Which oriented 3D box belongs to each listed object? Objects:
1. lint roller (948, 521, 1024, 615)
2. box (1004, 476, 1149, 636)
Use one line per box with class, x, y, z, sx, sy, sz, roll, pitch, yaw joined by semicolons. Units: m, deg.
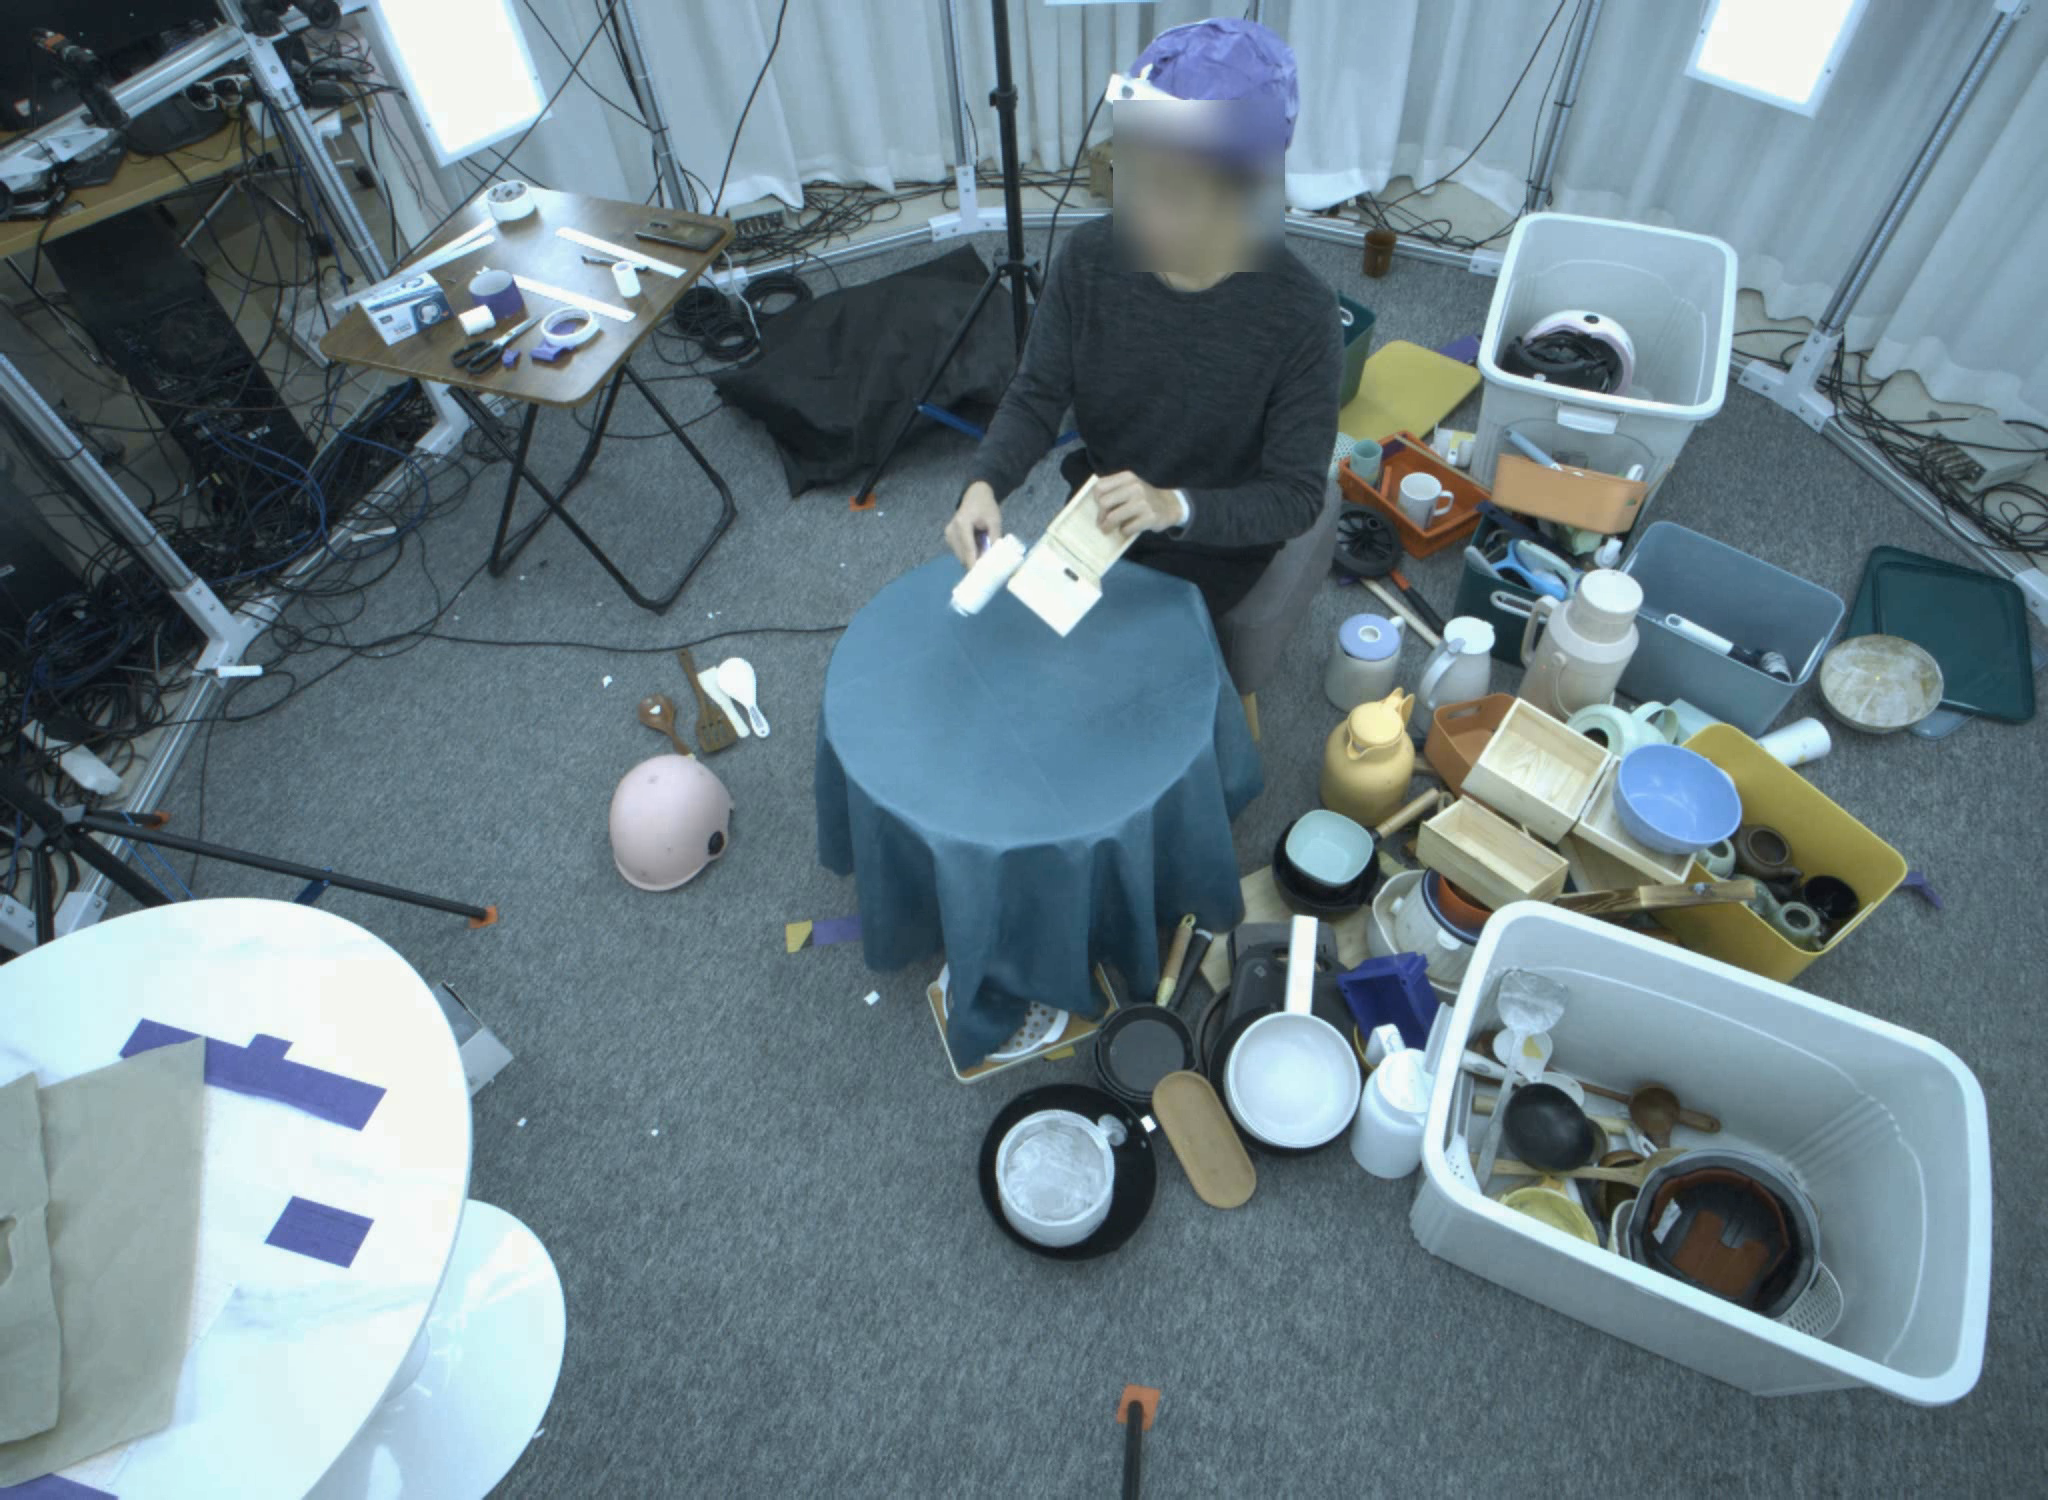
lint roller;-0.067;-0.281;1.718;0.132;0.051;0.177;-44;41;23
box;0.074;-0.266;1.668;0.103;0.184;0.133;40;17;-12
